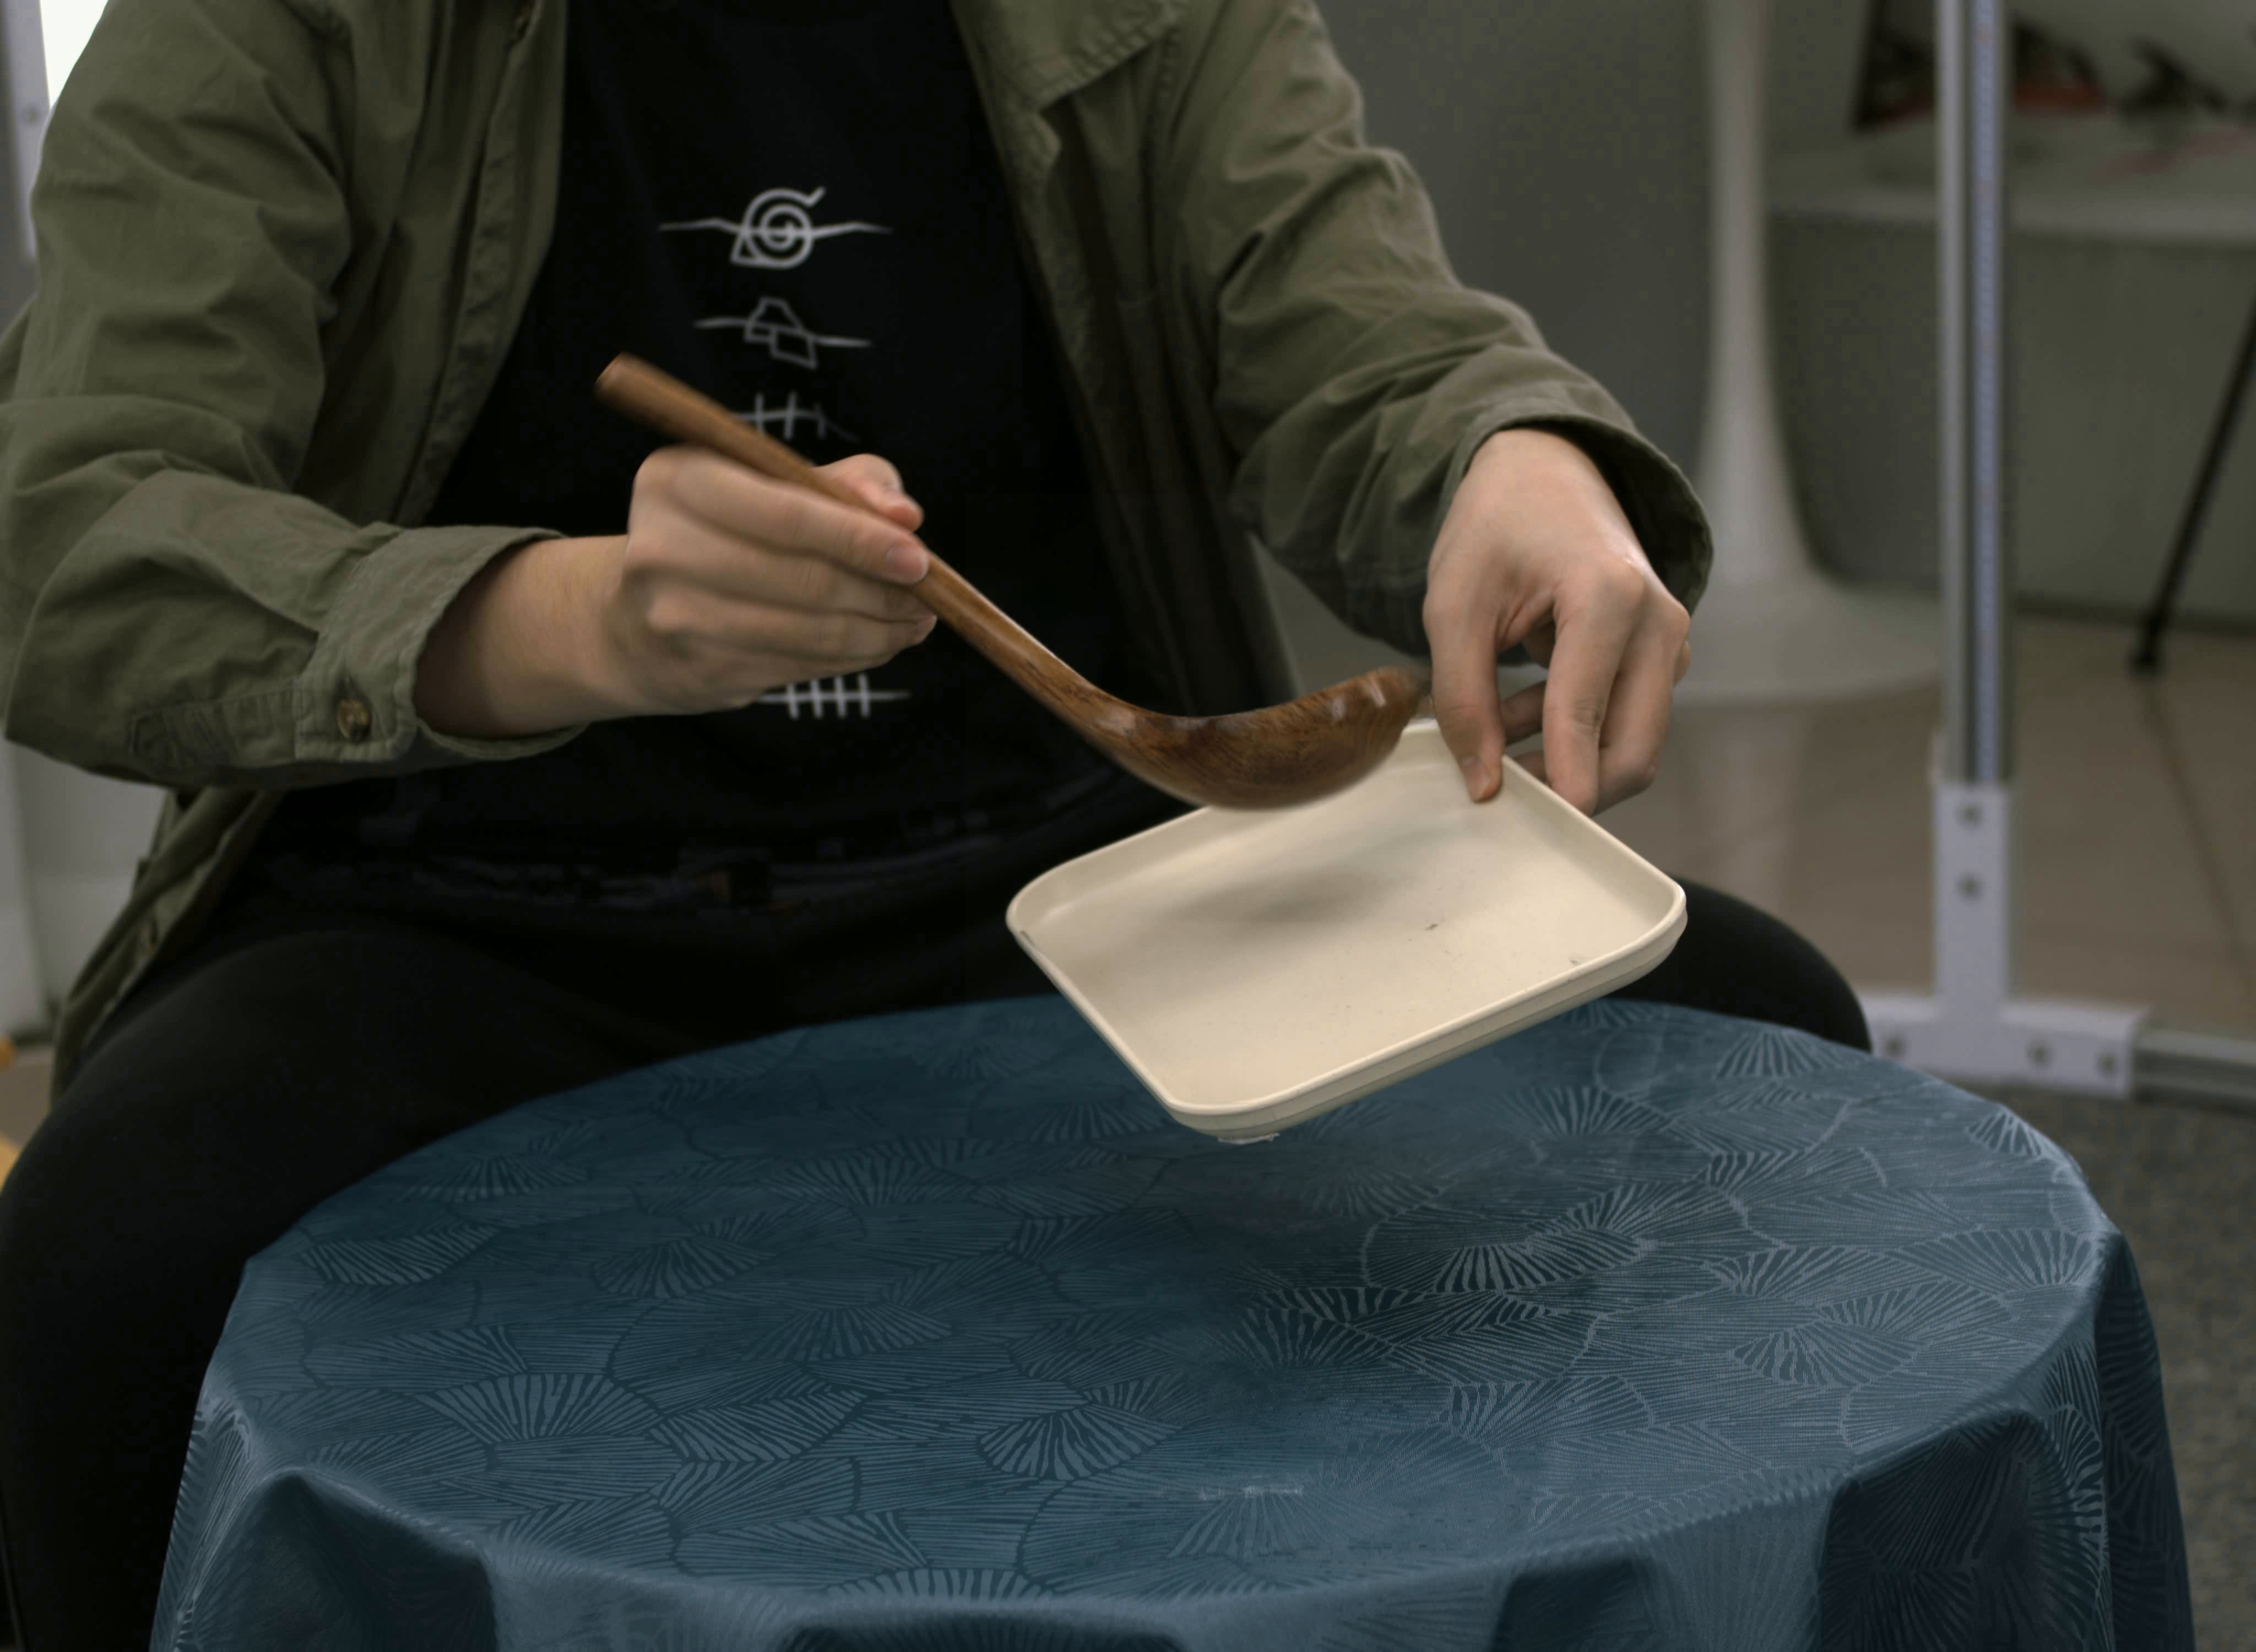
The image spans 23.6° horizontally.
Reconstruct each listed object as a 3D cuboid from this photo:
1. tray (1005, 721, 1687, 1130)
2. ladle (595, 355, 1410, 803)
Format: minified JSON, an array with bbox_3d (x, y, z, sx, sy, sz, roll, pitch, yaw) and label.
[{"bbox_3d":[0.064,0.029,1.666,0.169,0.017,0.241,-23,20,-9],"label":"tray"},{"bbox_3d":[-0.036,-0.092,1.695,0.273,0.076,0.082,35,-14,7],"label":"ladle"}]
